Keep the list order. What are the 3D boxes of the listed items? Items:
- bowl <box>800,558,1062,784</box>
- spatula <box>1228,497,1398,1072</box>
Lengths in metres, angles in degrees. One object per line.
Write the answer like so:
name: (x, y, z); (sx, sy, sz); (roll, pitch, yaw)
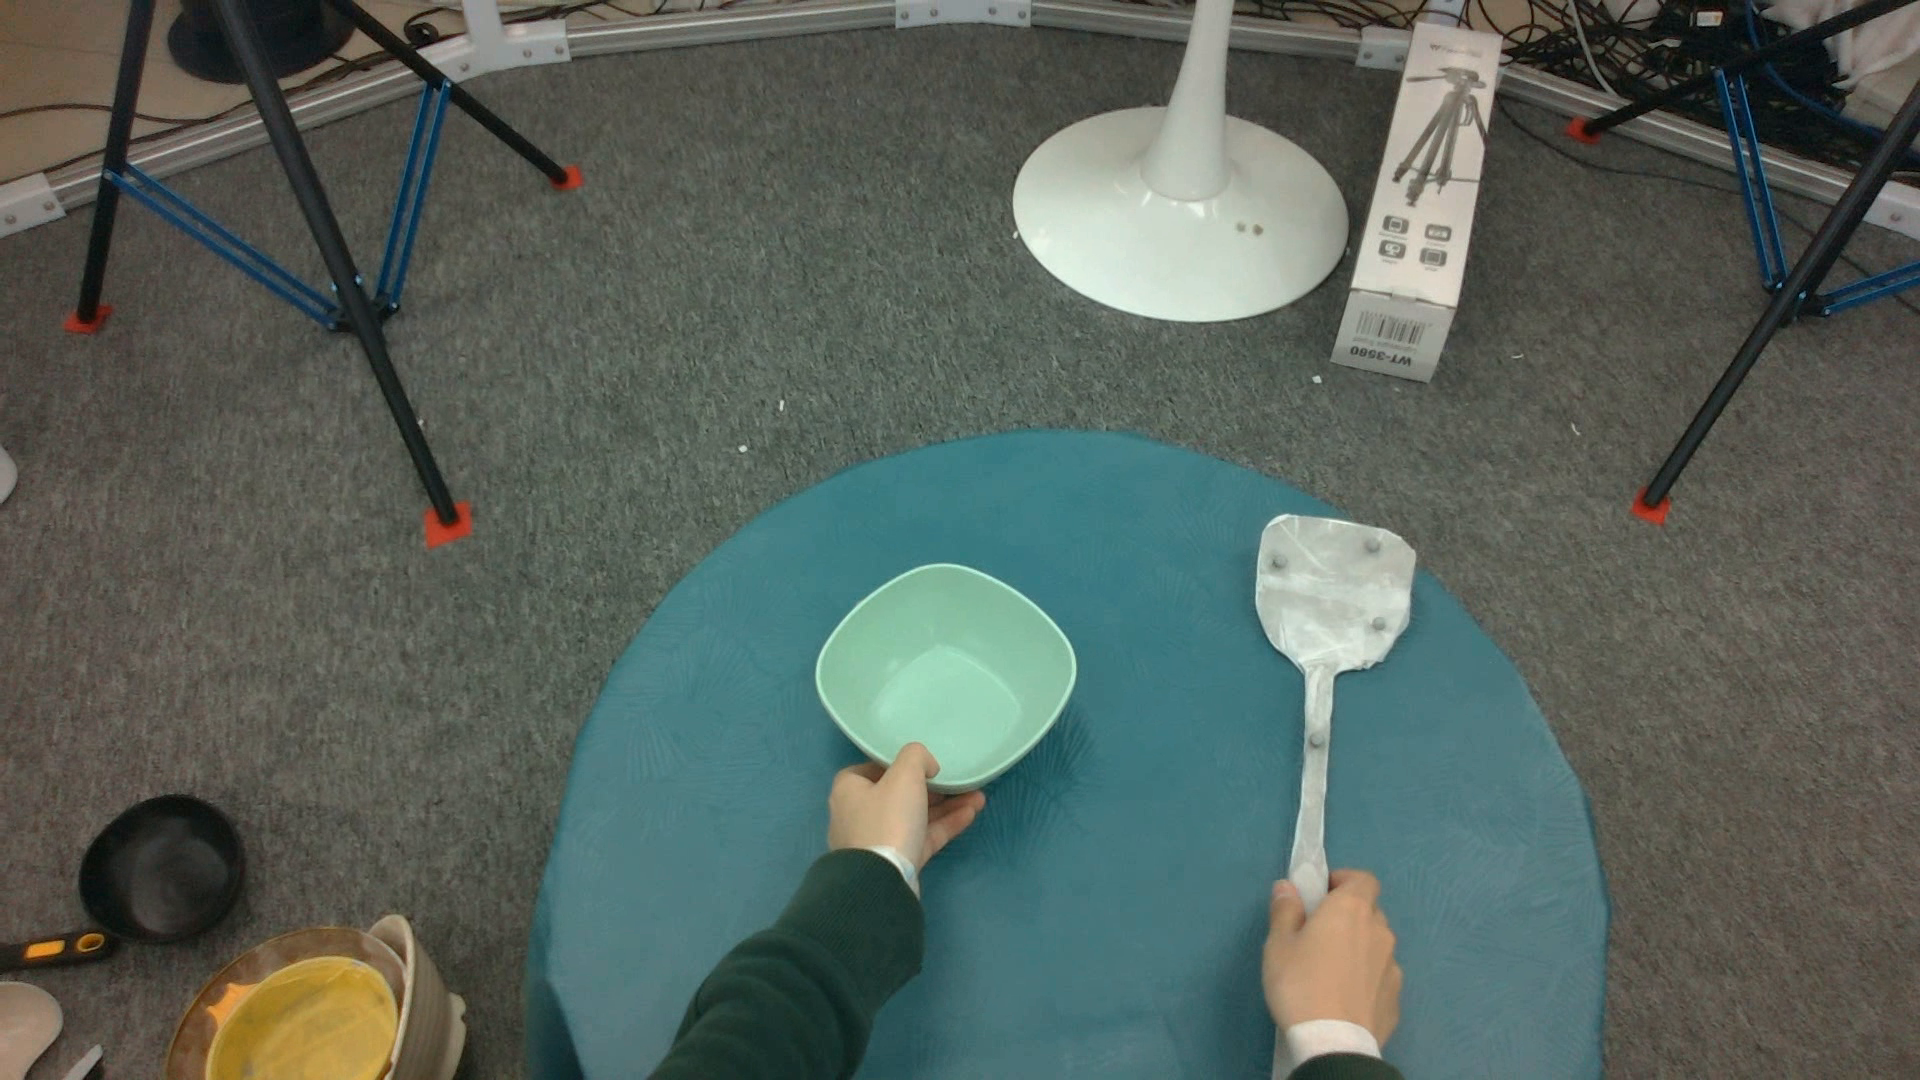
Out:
bowl: (-0.017, 0.086, 0.812); (0.151, 0.058, 0.152); (1, 50, -1)
spatula: (0.194, 0.126, 0.802); (0.098, 0.044, 0.367); (13, 52, 6)
